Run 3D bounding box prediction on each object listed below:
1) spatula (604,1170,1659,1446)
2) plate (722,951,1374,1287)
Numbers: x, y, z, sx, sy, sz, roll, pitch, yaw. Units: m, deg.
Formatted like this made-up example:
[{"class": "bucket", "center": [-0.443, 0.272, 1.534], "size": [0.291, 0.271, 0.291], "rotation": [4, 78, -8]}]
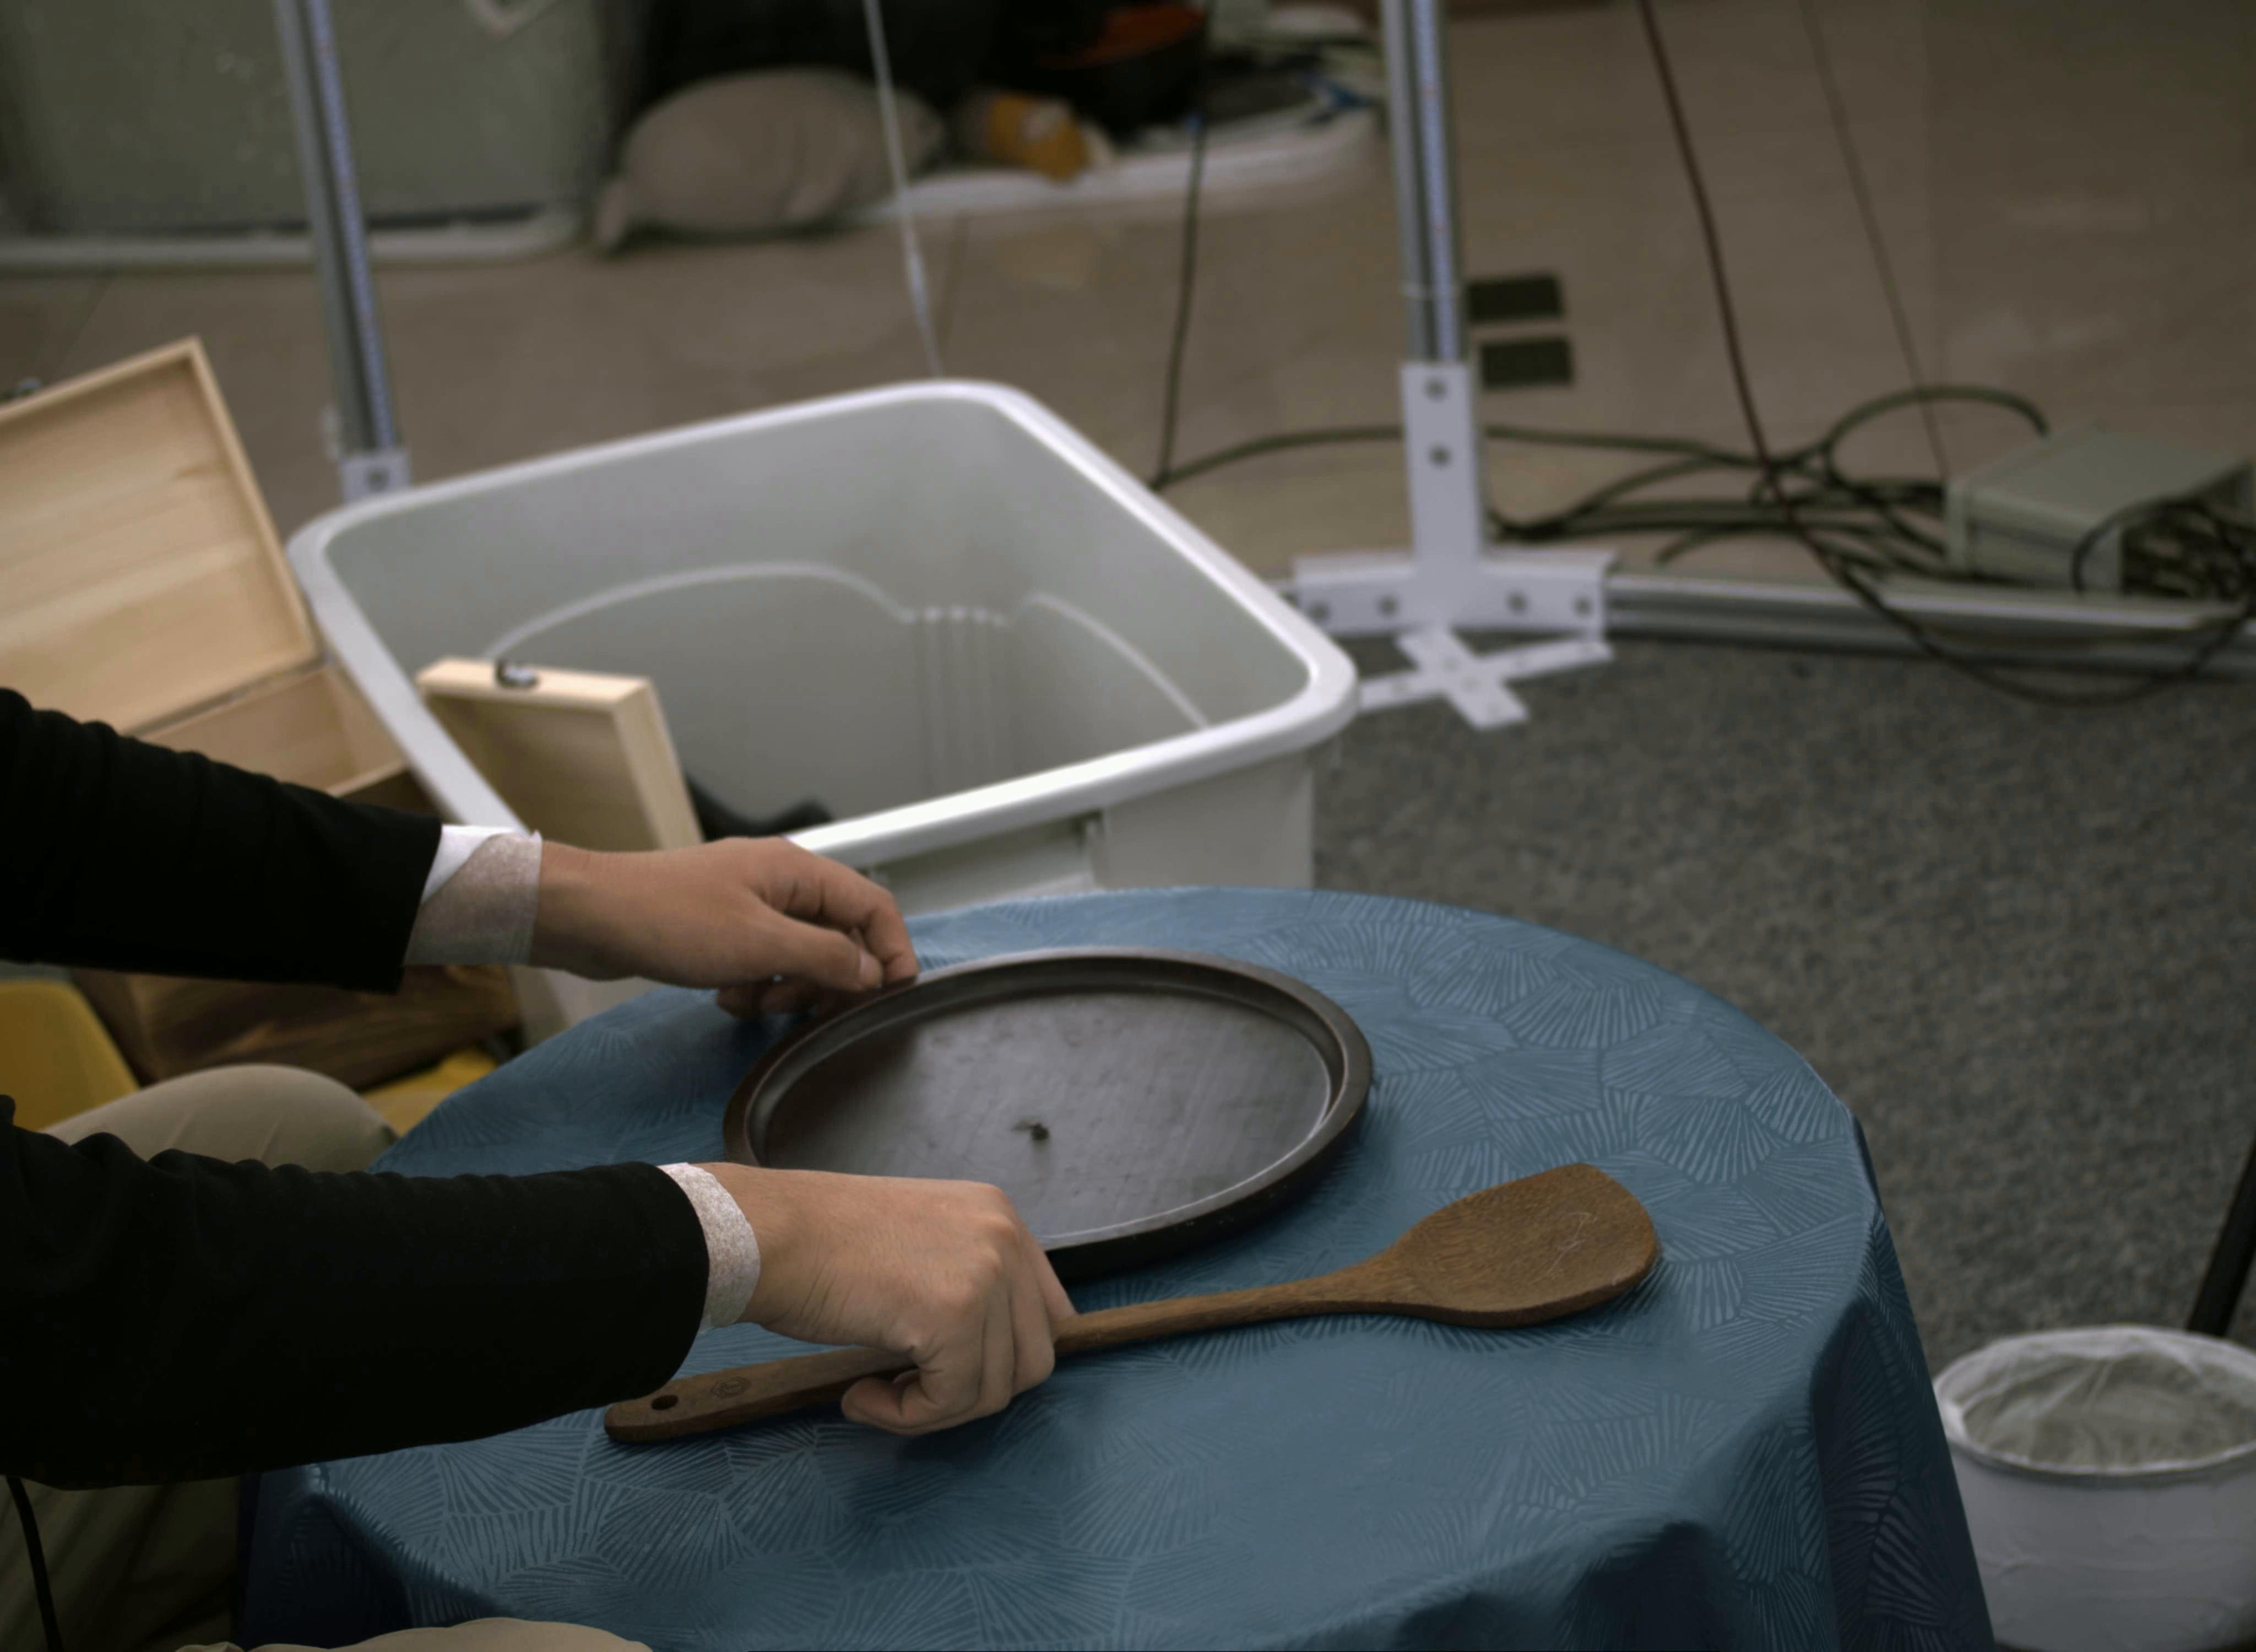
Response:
[{"class": "spatula", "center": [0.001, 0.179, 2.043], "size": [0.385, 0.016, 0.095], "rotation": [-10, 24, -7]}, {"class": "plate", "center": [-0.030, 0.111, 2.188], "size": [0.254, 0.029, 0.251], "rotation": [-5, 26, 3]}]
